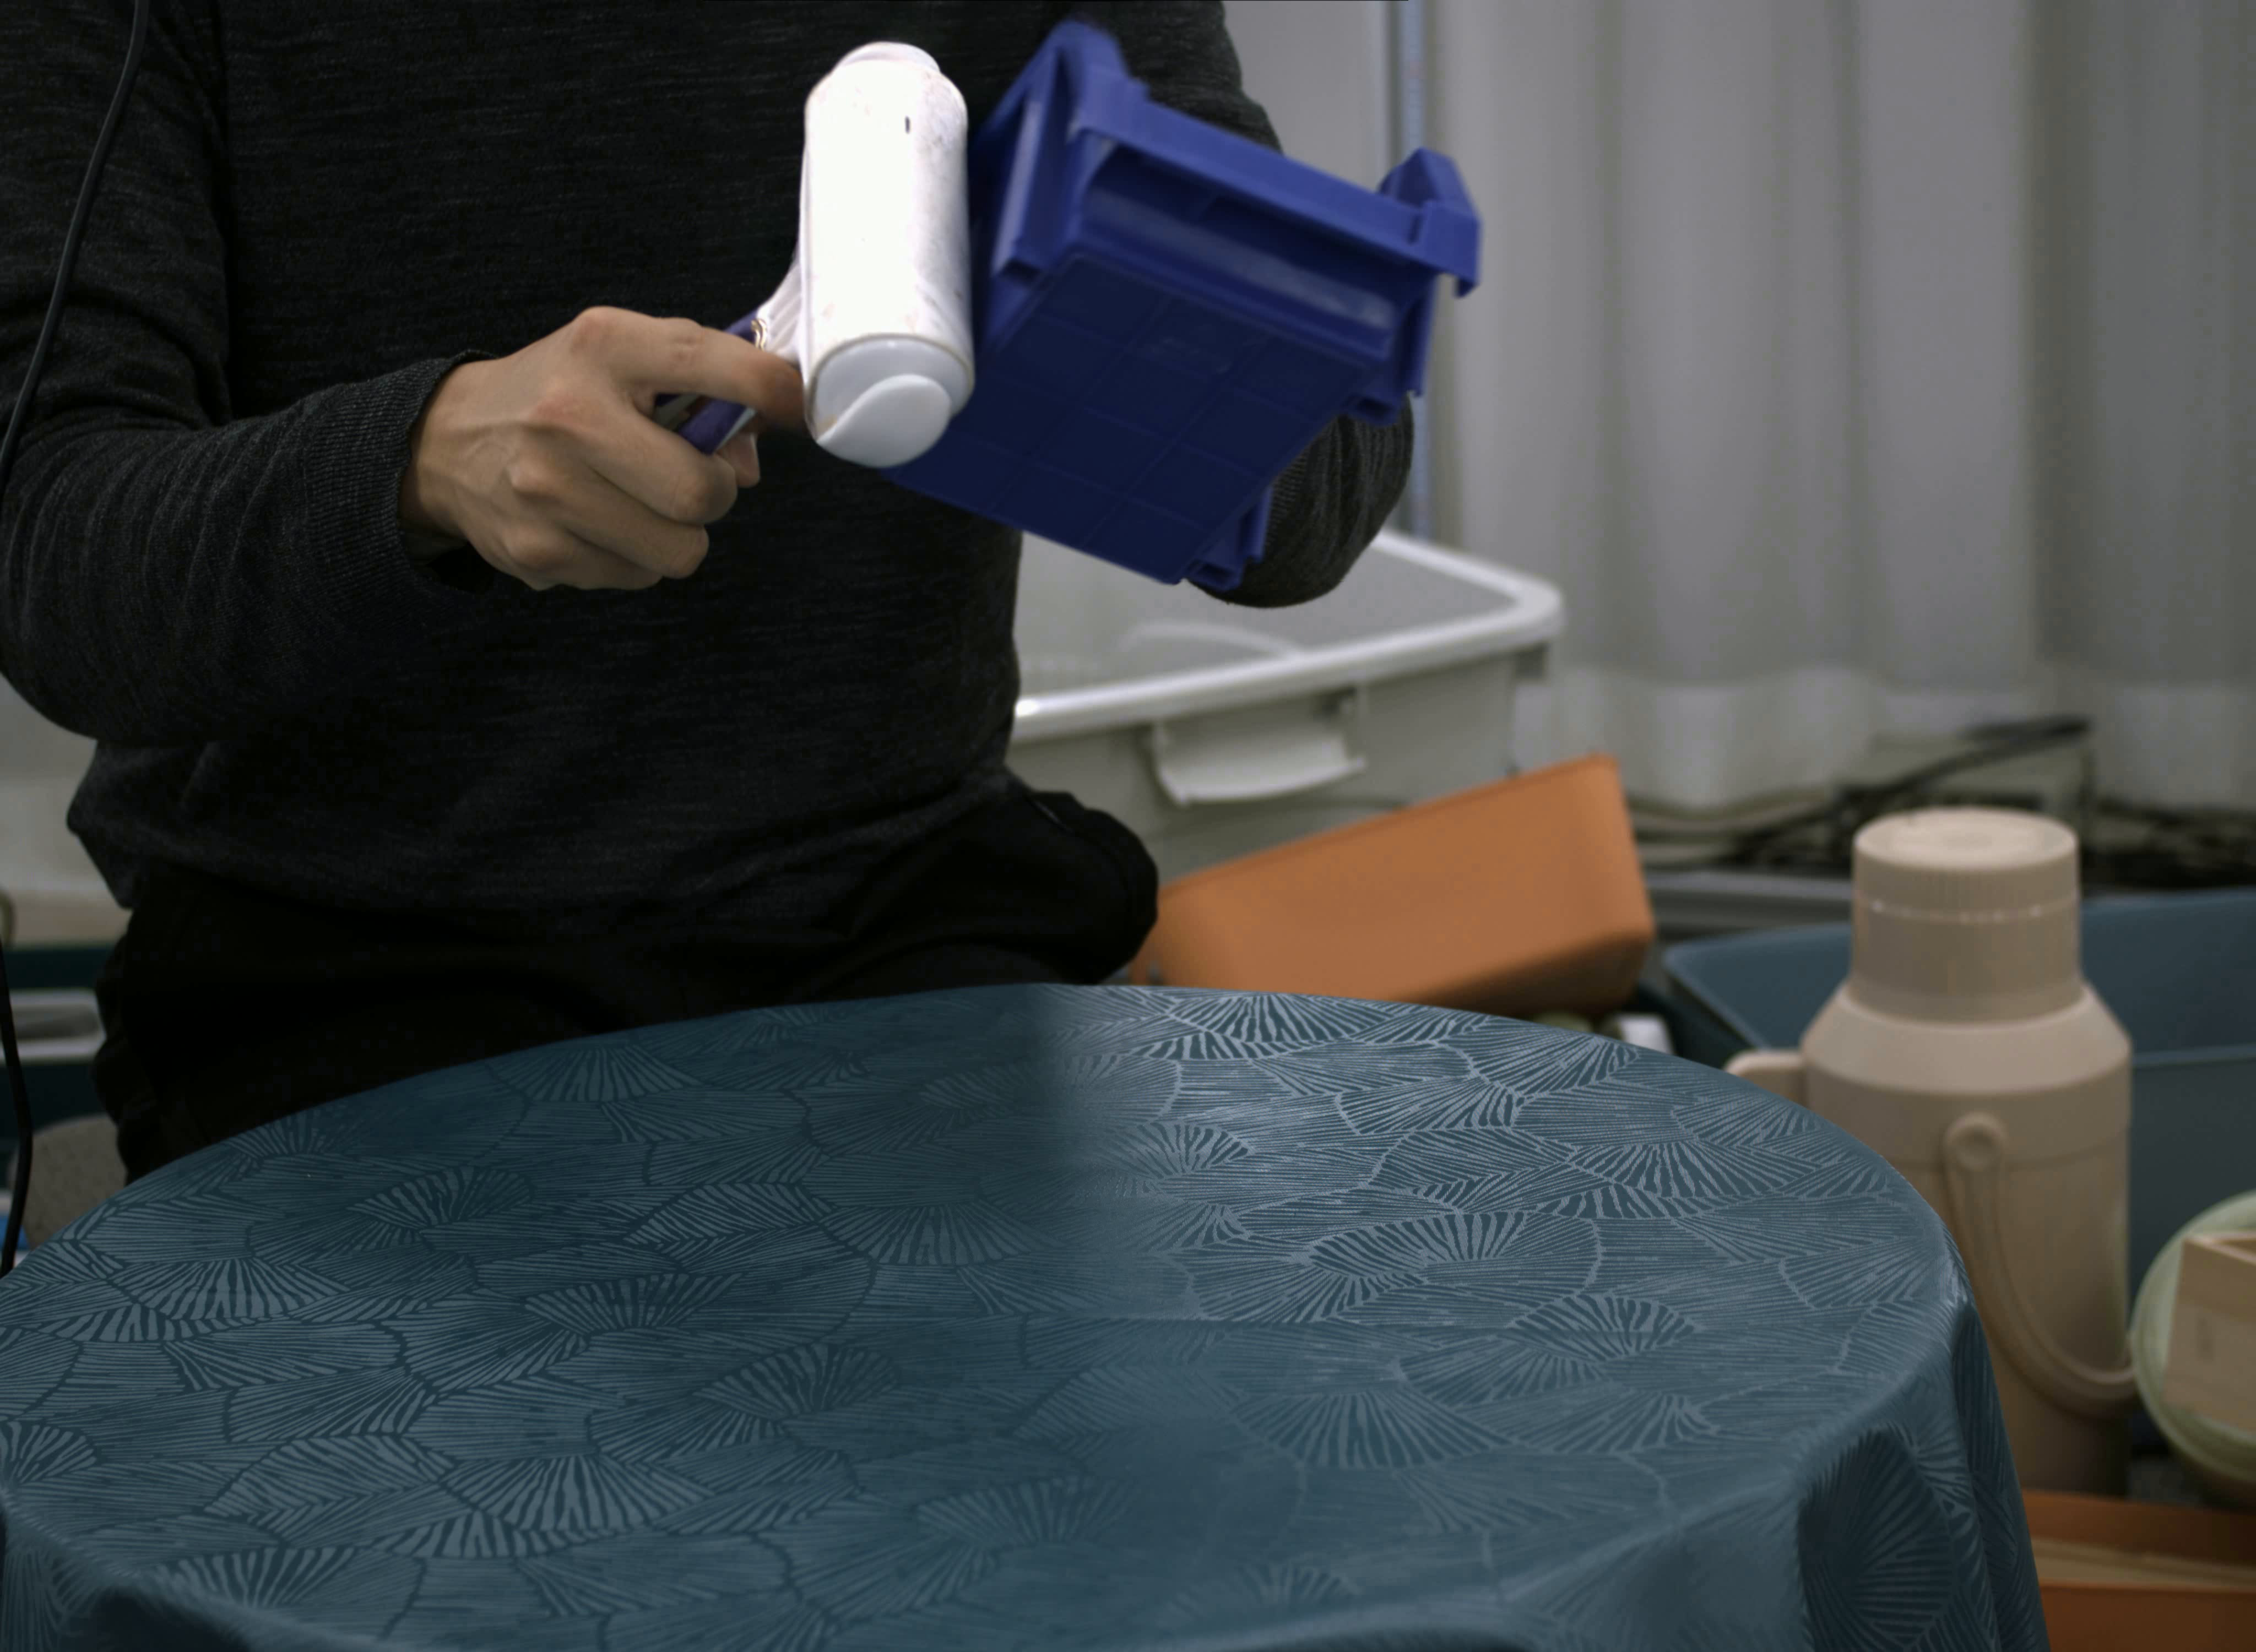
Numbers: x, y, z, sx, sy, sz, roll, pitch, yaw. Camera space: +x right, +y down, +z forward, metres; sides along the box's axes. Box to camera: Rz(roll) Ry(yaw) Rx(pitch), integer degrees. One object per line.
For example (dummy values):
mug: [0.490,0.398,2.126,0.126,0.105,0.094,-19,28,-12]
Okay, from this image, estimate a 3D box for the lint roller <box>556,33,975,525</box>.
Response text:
lint roller: [-0.115,-0.141,1.580,0.180,0.135,0.049,-27,-40,34]

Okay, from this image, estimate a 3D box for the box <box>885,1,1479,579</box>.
box: [0.011,-0.153,1.551,0.123,0.083,0.178,19,-35,-14]
